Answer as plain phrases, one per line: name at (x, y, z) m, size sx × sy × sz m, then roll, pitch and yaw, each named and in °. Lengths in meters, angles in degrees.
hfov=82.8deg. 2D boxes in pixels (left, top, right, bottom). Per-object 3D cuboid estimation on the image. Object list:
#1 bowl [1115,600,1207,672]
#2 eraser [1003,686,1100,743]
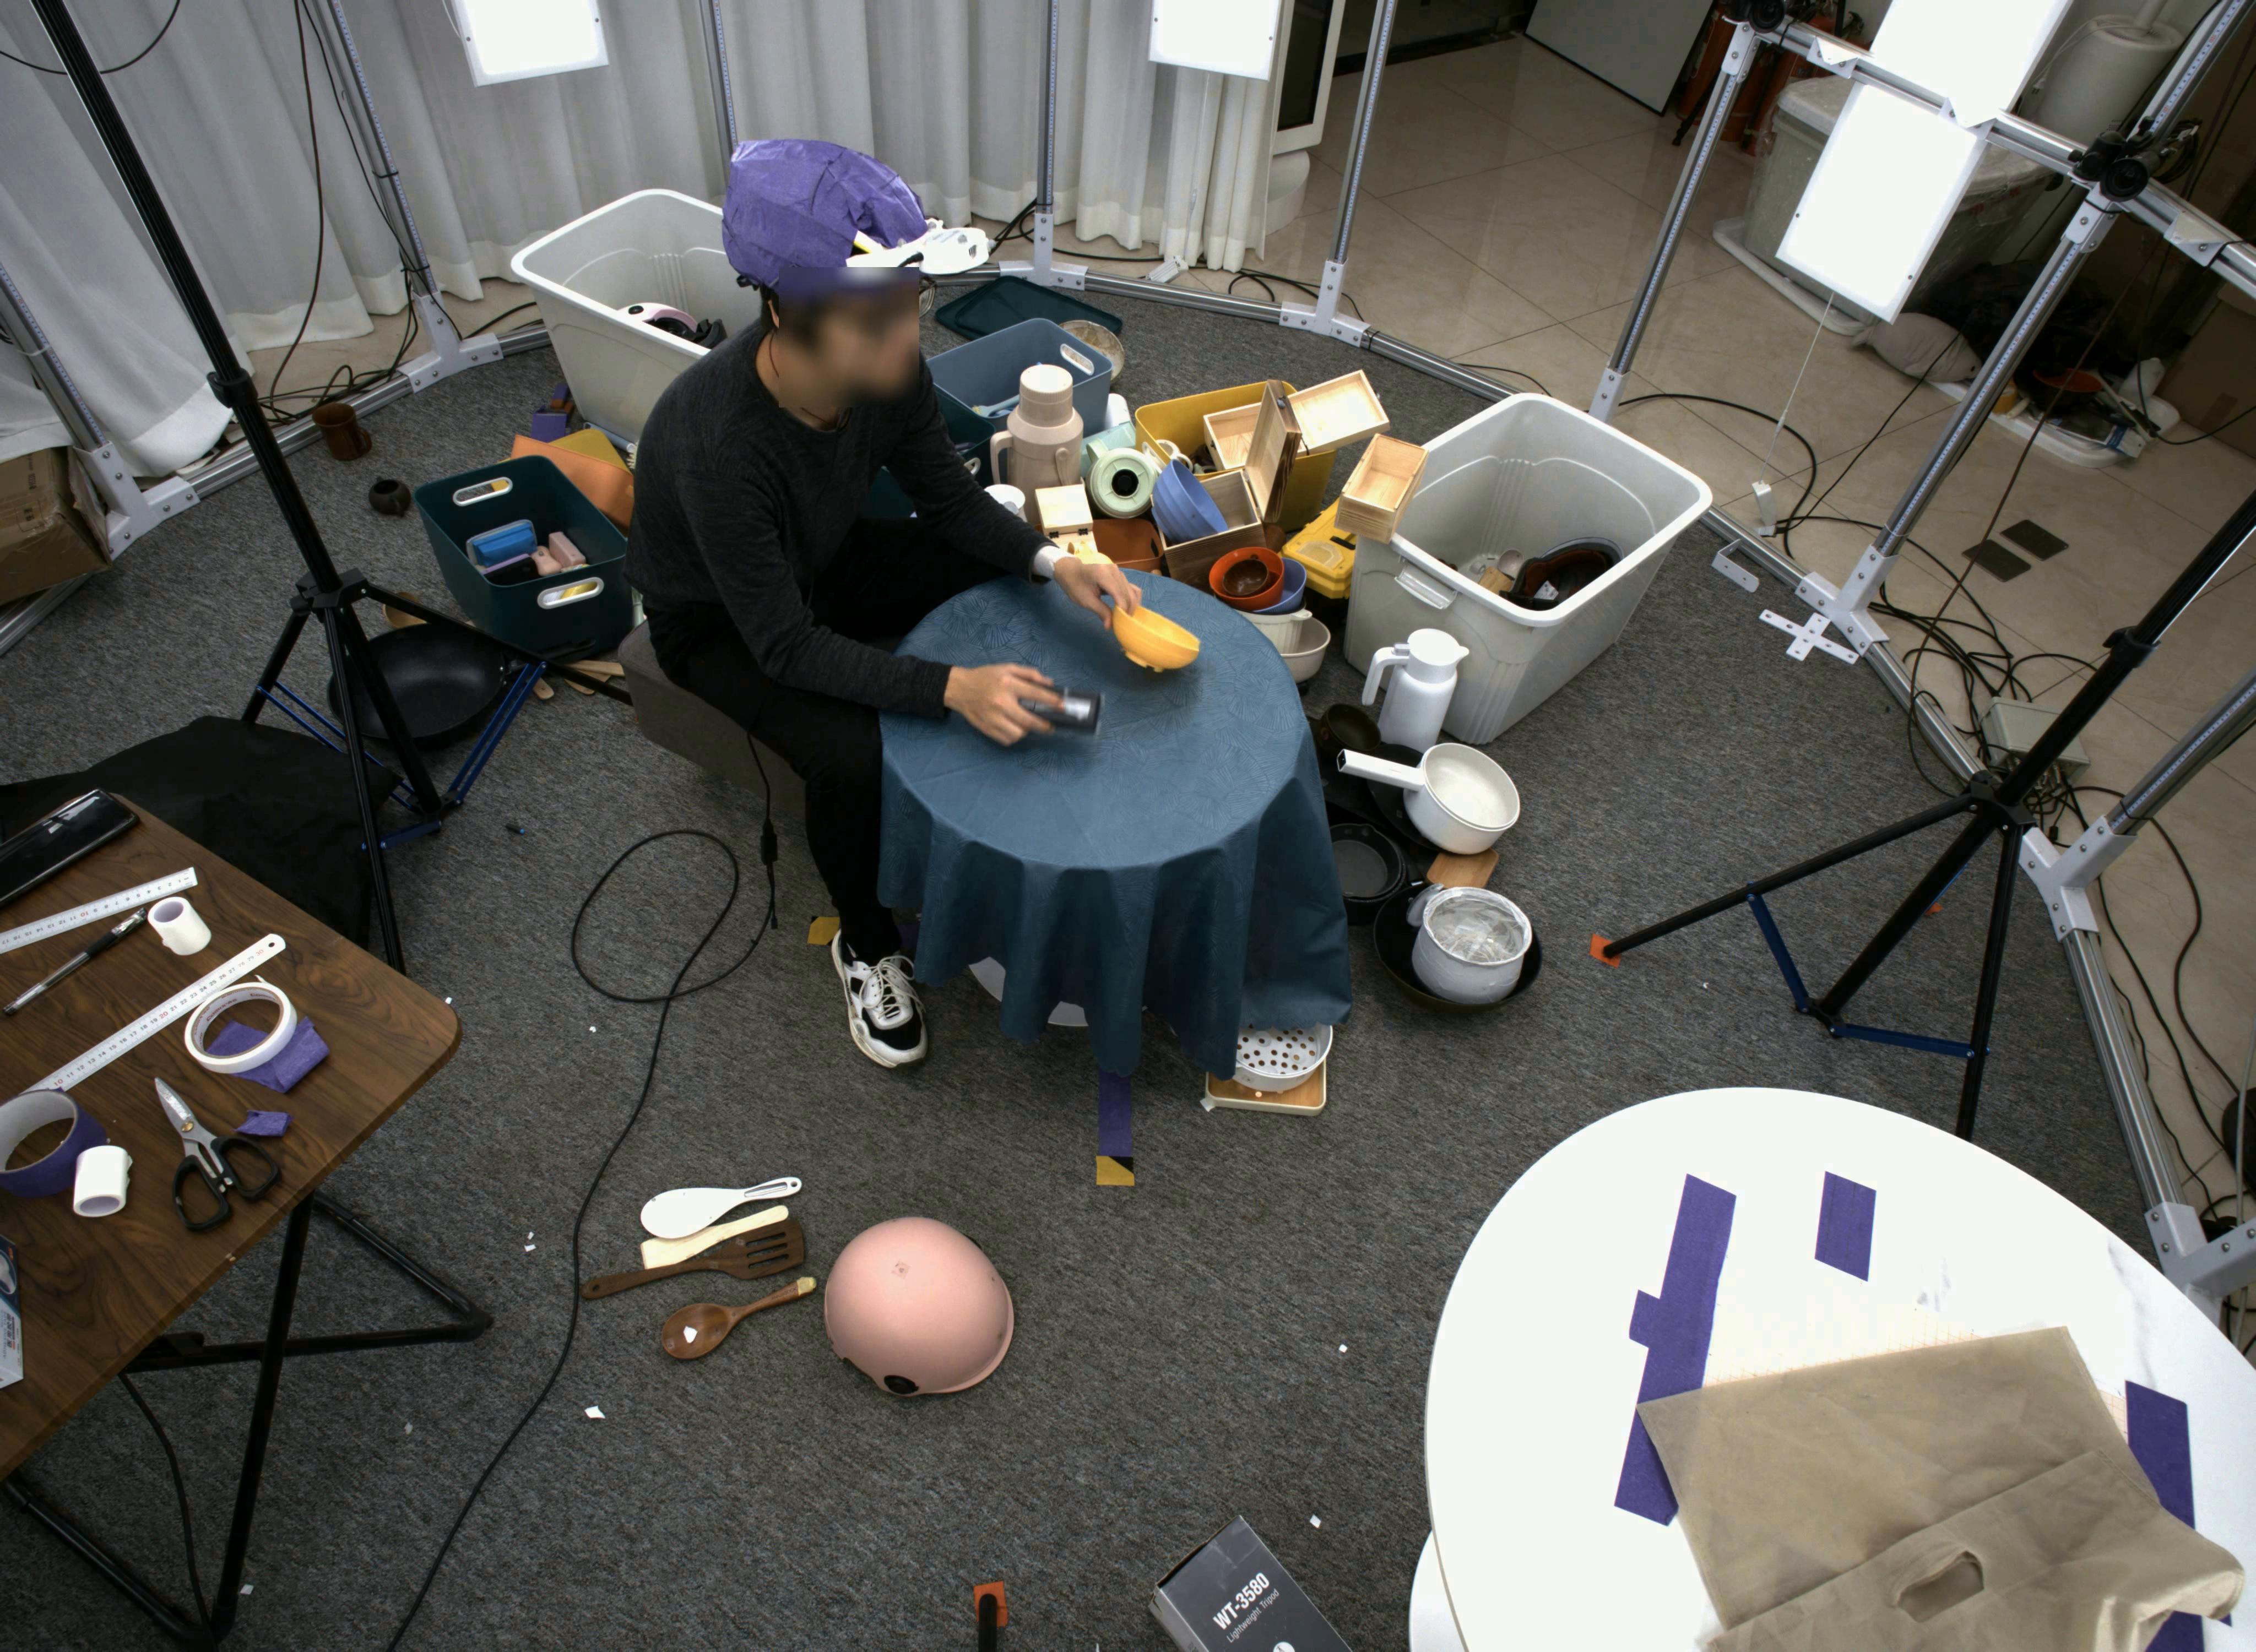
bowl at (0.037, -0.263, 1.835) m, size 0.144 × 0.059 × 0.148 m, roll 24°, pitch 22°, yaw -10°
eraser at (-0.103, -0.150, 1.735) m, size 0.125 × 0.030 × 0.054 m, roll 12°, pitch 75°, yaw 5°
